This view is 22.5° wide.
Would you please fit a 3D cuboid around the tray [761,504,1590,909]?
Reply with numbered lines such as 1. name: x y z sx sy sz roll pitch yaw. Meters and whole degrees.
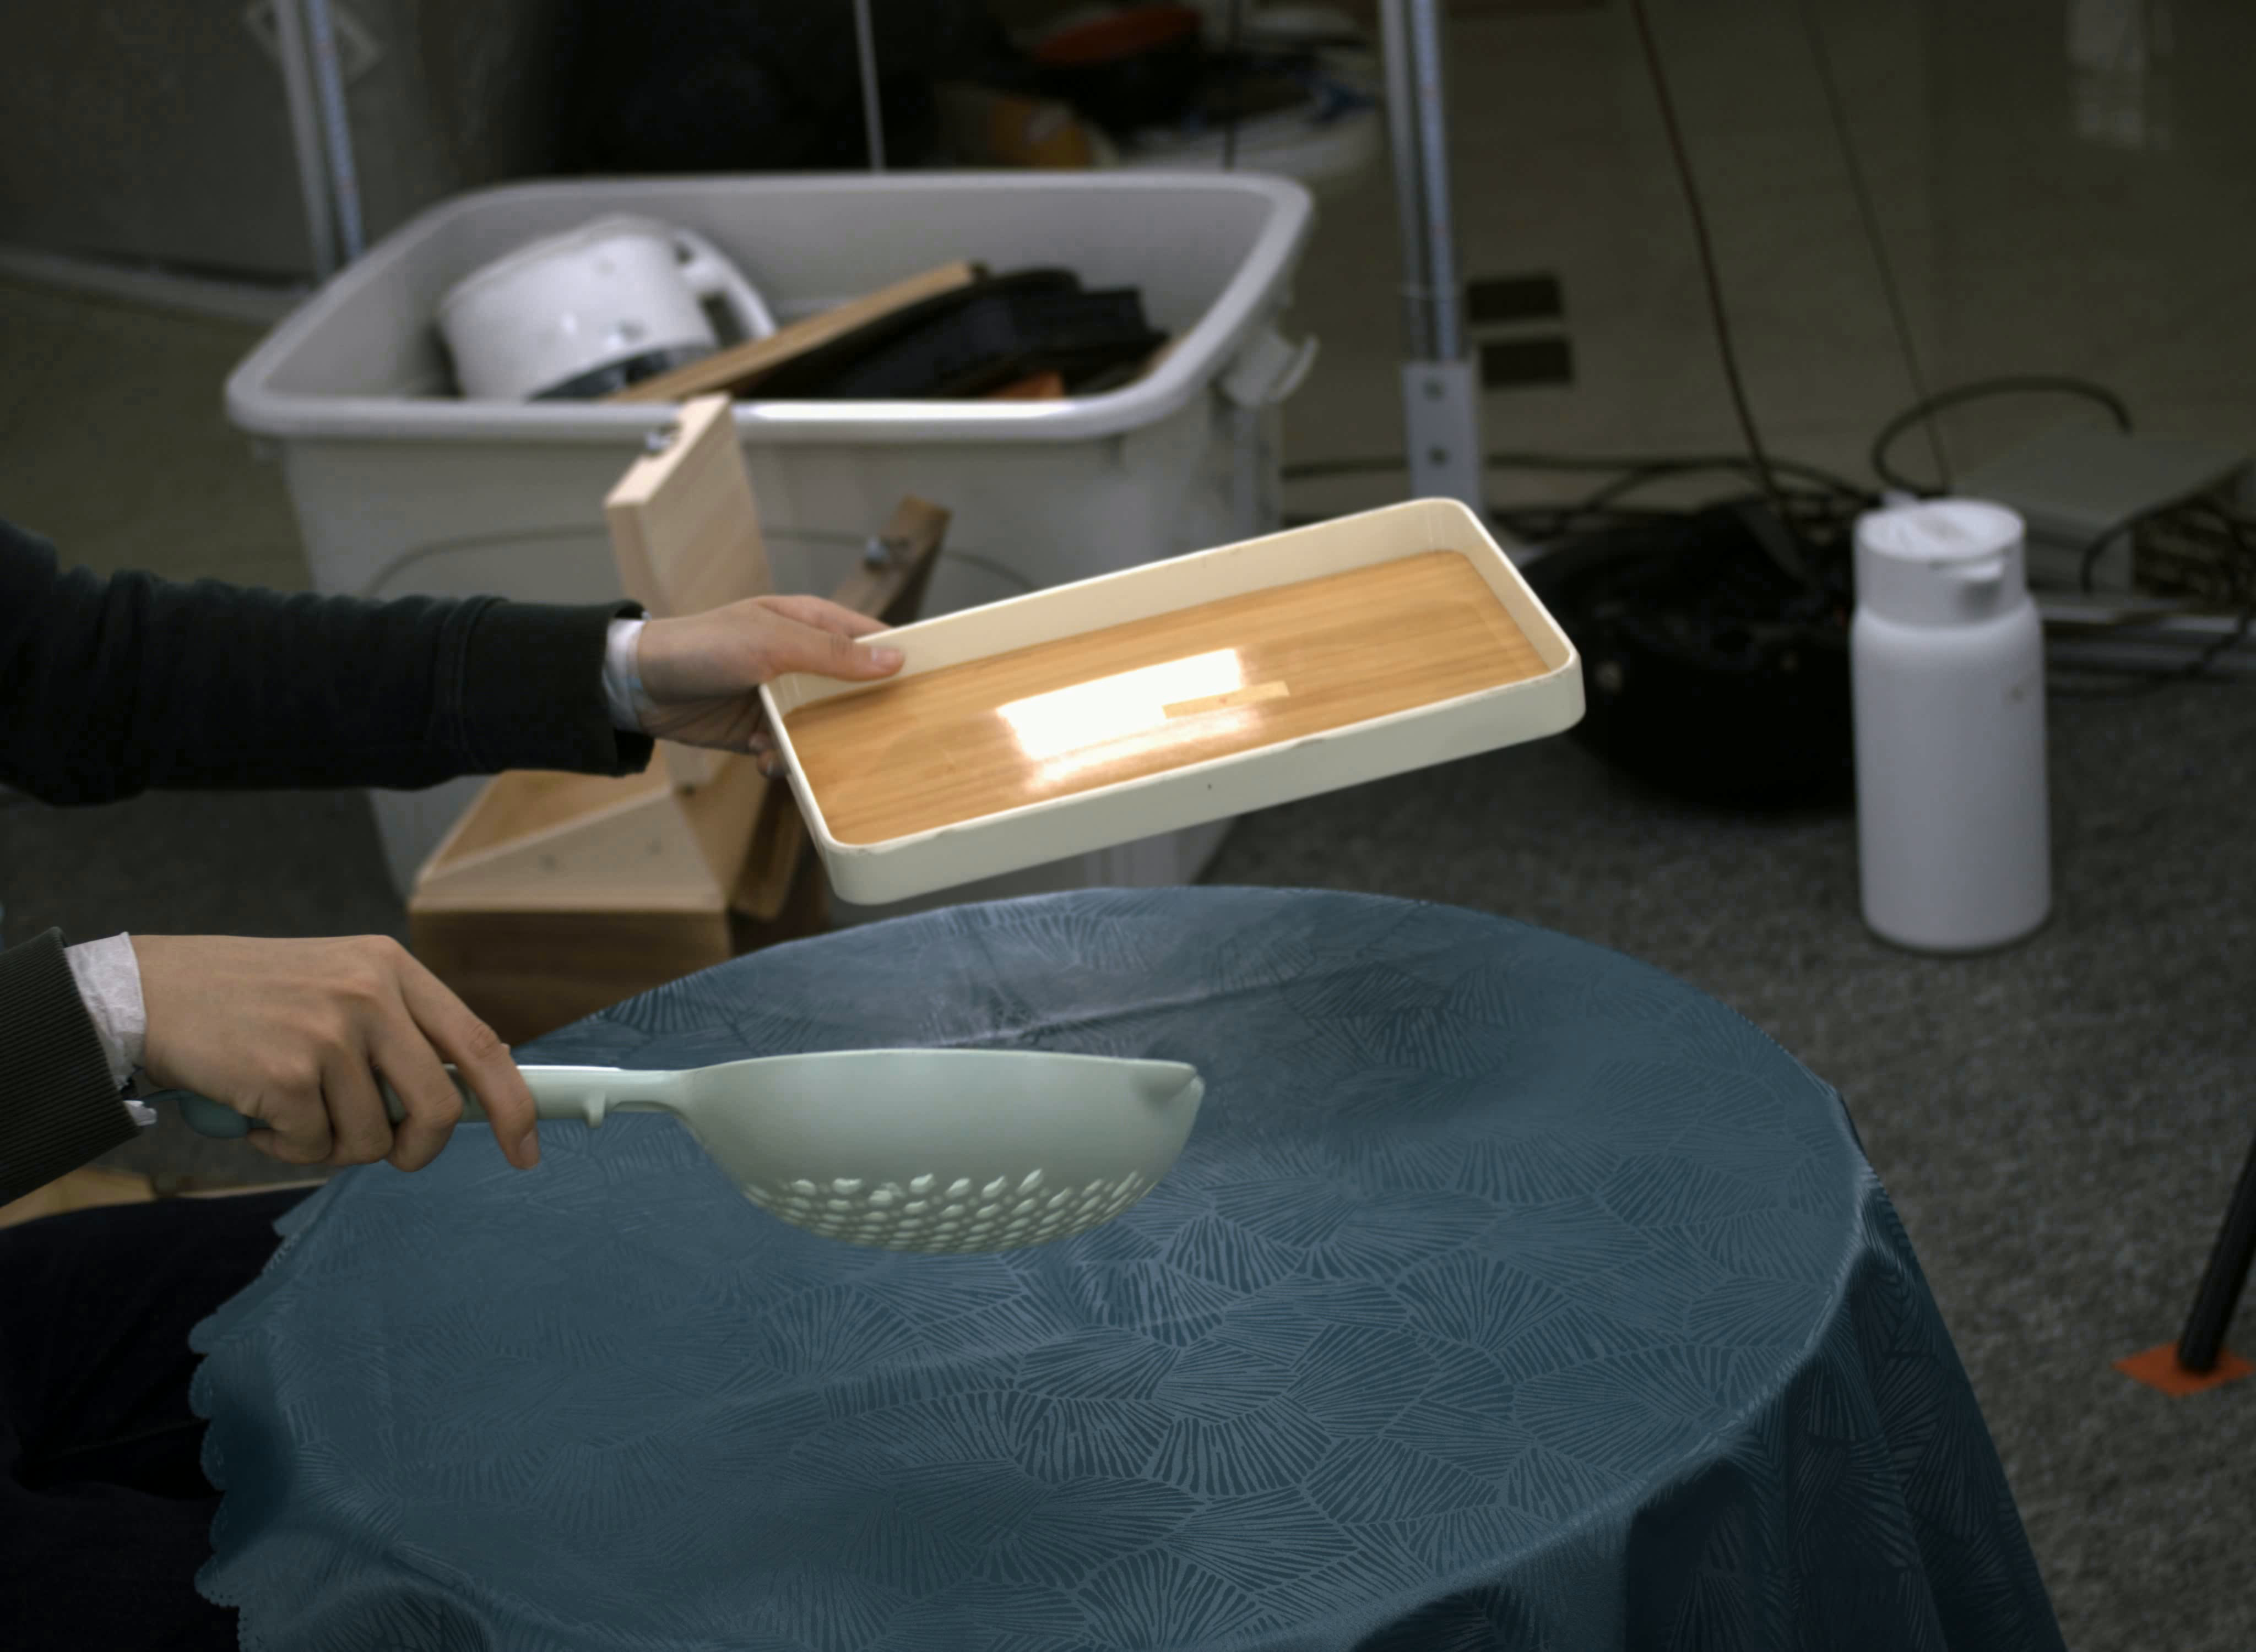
1. tray: 0.015 -0.050 2.215 0.299 0.028 0.189 -14 27 -7

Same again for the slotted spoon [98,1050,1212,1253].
1. slotted spoon: -0.152 0.094 1.857 0.359 0.075 0.170 9 -11 -10
